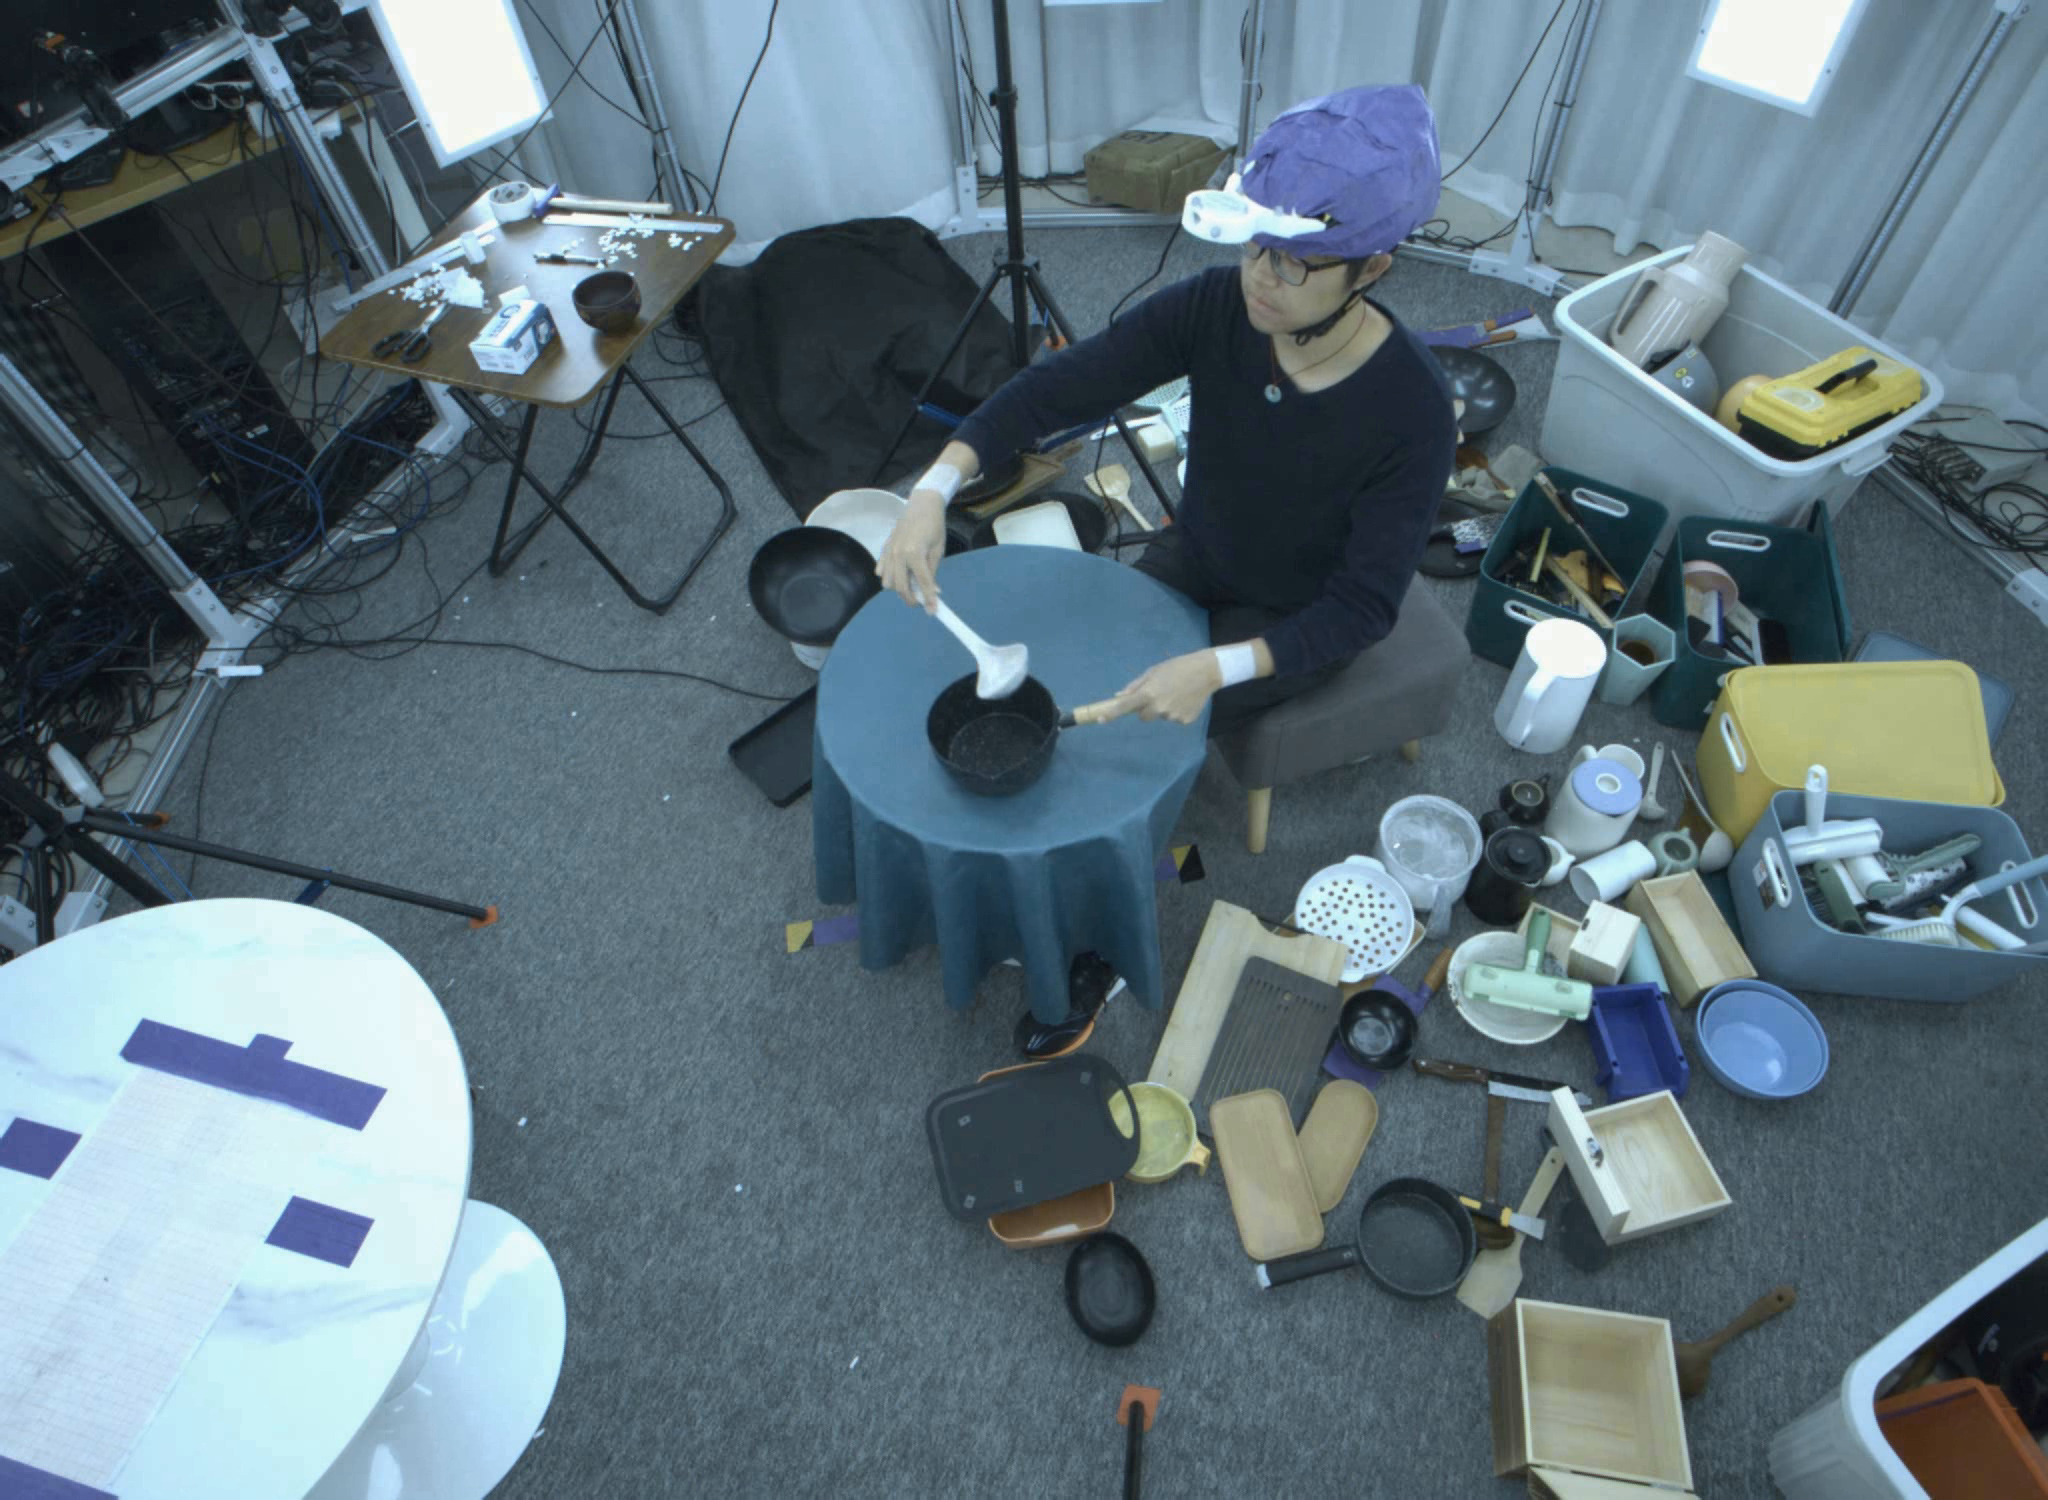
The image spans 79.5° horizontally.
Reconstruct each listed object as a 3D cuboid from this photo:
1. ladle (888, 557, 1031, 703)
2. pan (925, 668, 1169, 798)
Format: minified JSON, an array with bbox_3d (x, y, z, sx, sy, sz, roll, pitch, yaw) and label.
[{"bbox_3d":[-0.099,-0.170,1.610,0.272,0.070,0.089,45,99,12],"label":"ladle"},{"bbox_3d":[0.035,-0.034,1.734,0.342,0.110,0.205,-7,53,3],"label":"pan"}]
